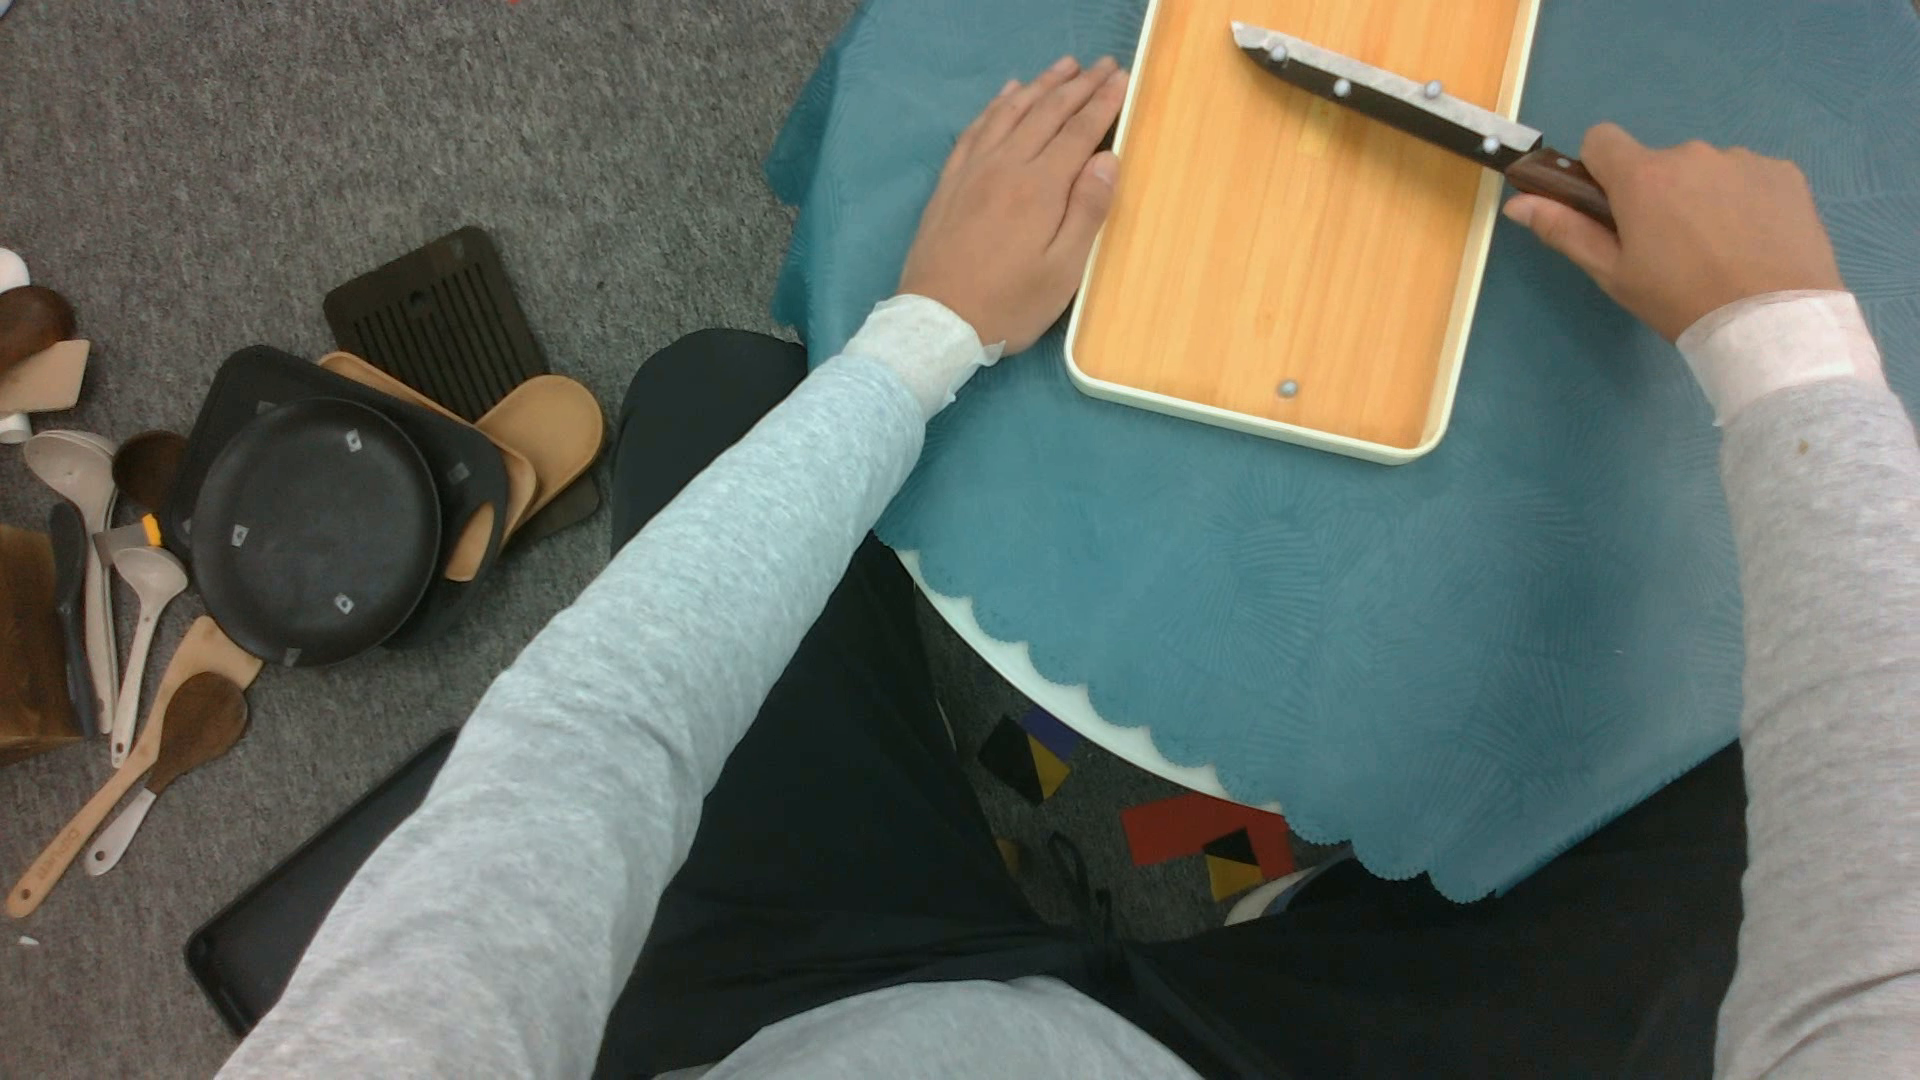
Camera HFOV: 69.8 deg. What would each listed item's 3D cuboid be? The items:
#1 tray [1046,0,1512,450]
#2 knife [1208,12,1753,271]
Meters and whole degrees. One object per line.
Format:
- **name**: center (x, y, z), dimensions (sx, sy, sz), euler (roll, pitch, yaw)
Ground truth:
- **tray**: center (0.167, -0.208, 0.706), dimensions (0.191, 0.027, 0.300), euler (14, 83, 4)
- **knife**: center (0.245, -0.203, 0.675), dimensions (0.289, 0.020, 0.050), euler (32, 53, 19)
